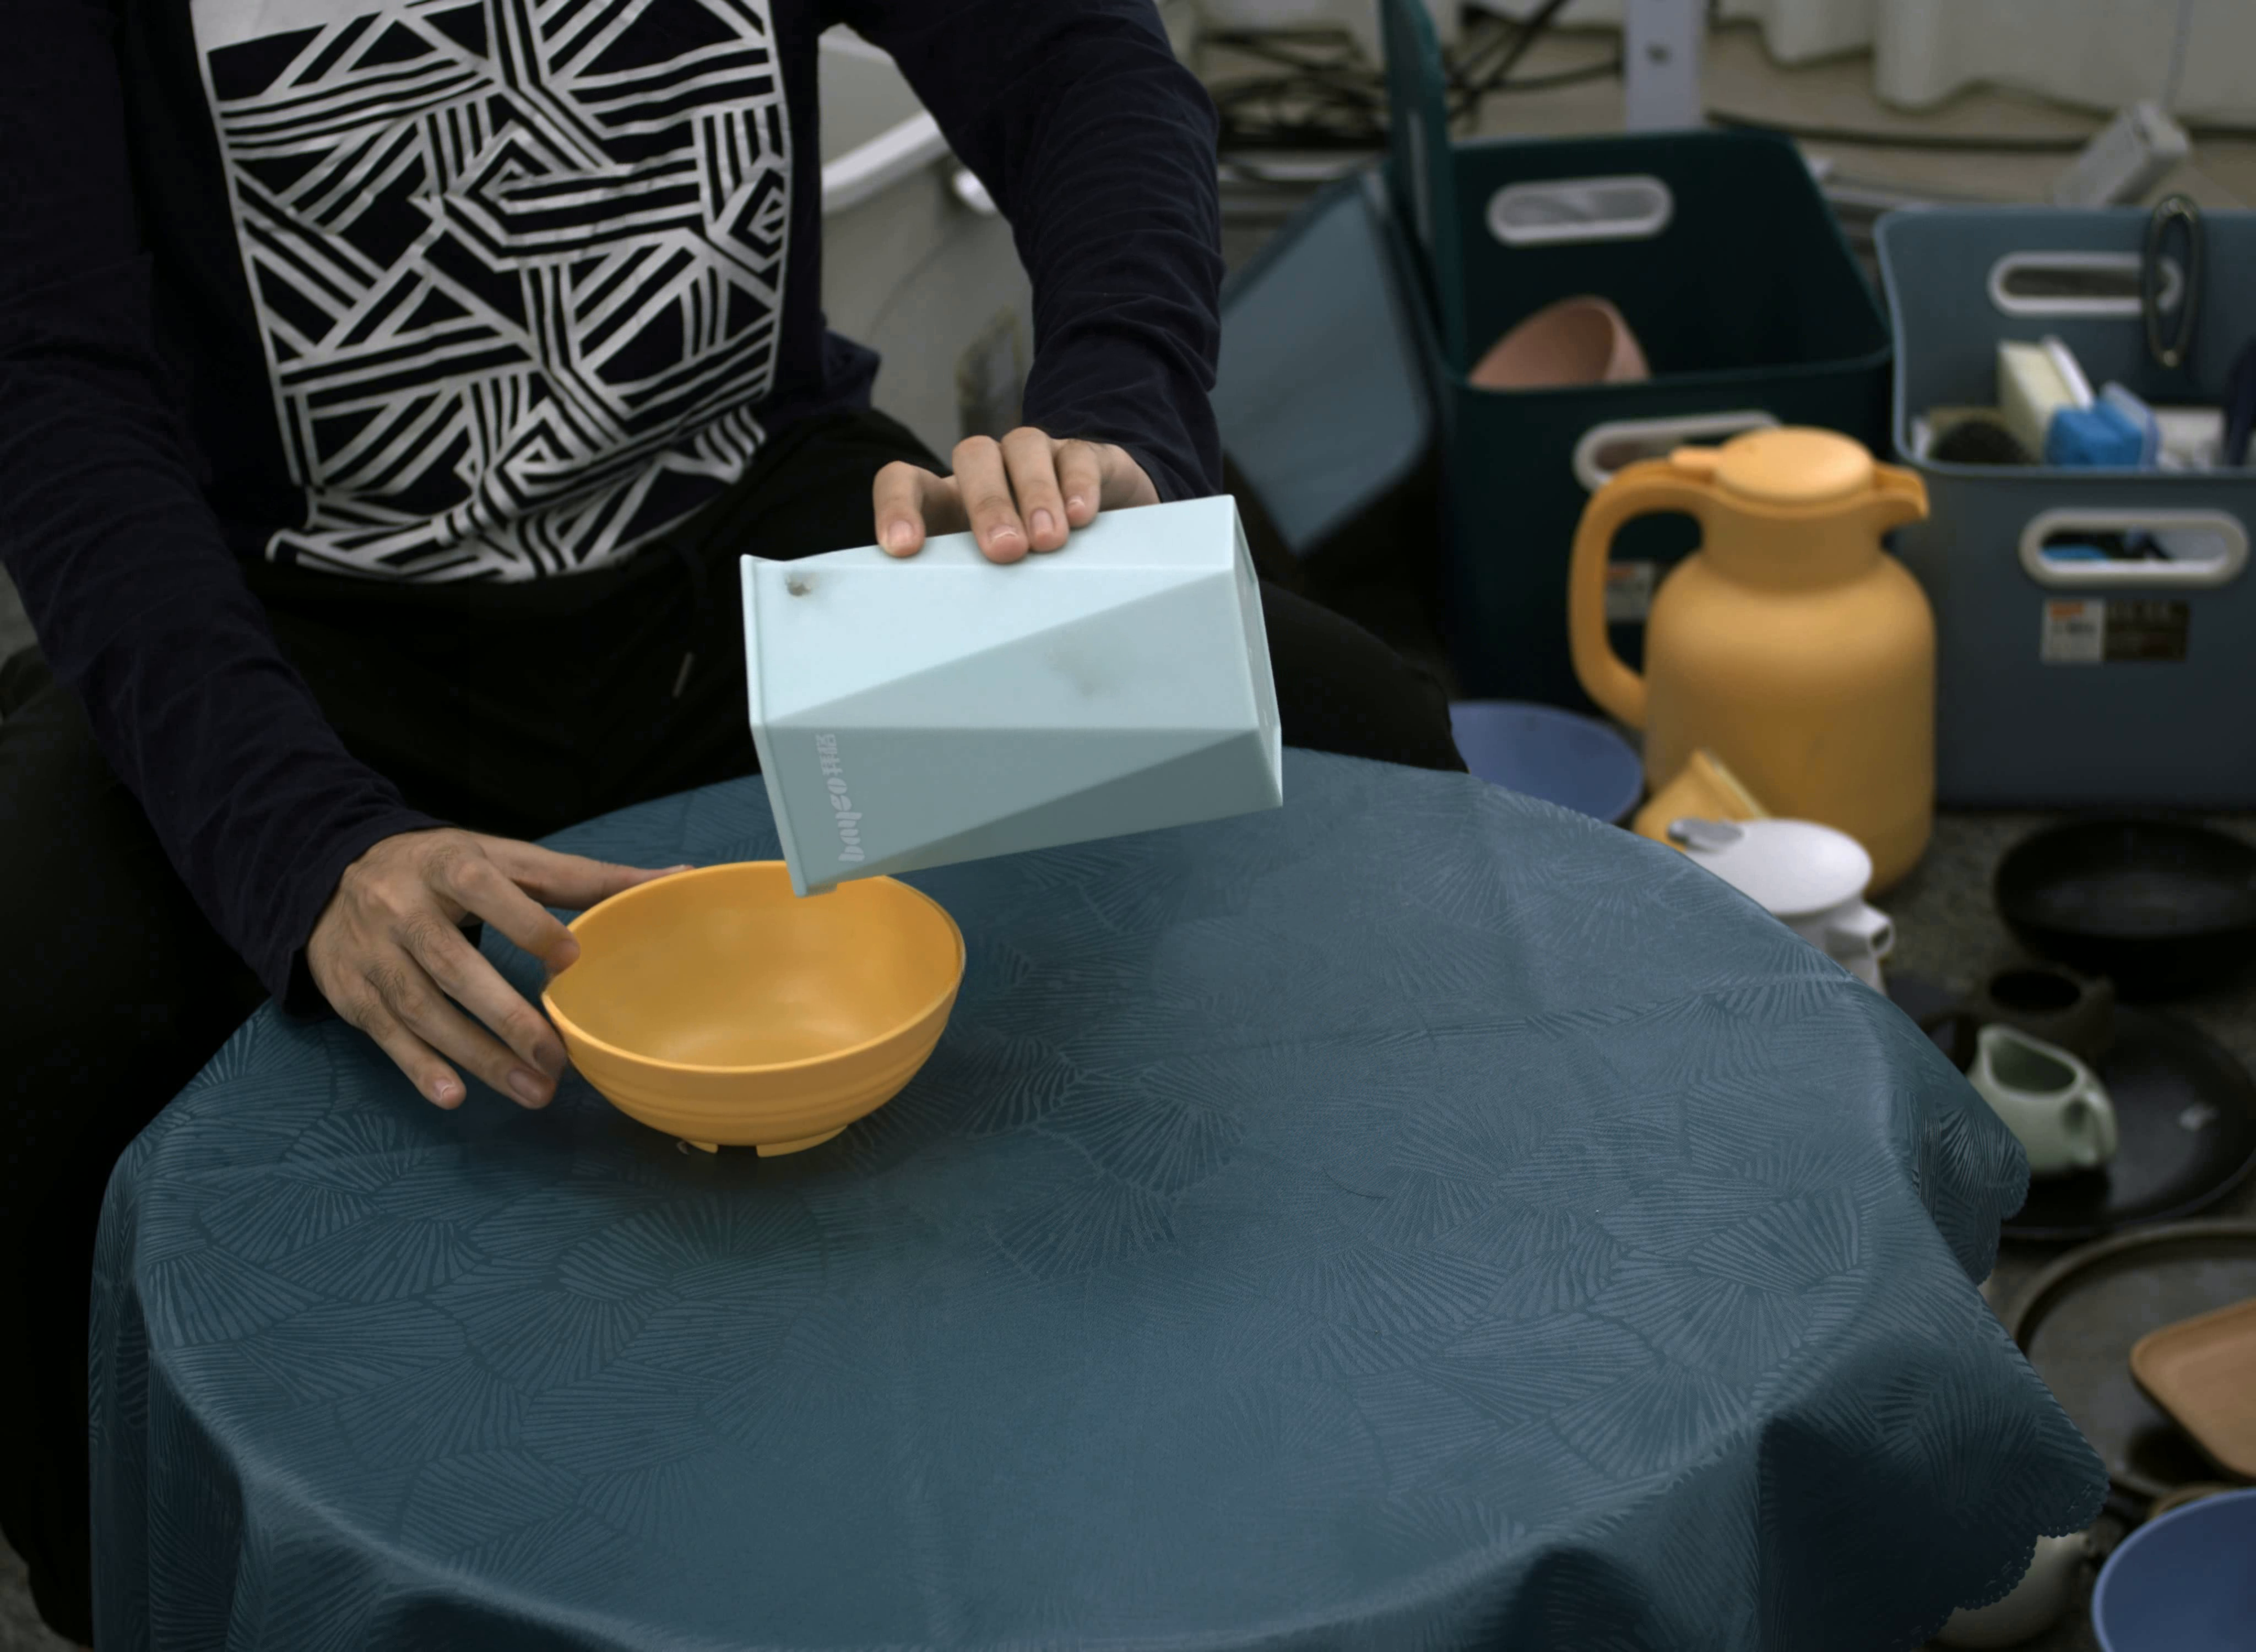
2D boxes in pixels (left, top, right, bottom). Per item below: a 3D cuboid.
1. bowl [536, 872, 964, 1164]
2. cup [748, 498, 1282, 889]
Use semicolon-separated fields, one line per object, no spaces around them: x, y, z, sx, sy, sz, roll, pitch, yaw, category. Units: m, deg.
-0.126;0.074;1.905;0.144;0.059;0.147;-2;25;1;bowl
-0.035;-0.047;1.861;0.162;0.130;0.117;-8;26;6;cup
